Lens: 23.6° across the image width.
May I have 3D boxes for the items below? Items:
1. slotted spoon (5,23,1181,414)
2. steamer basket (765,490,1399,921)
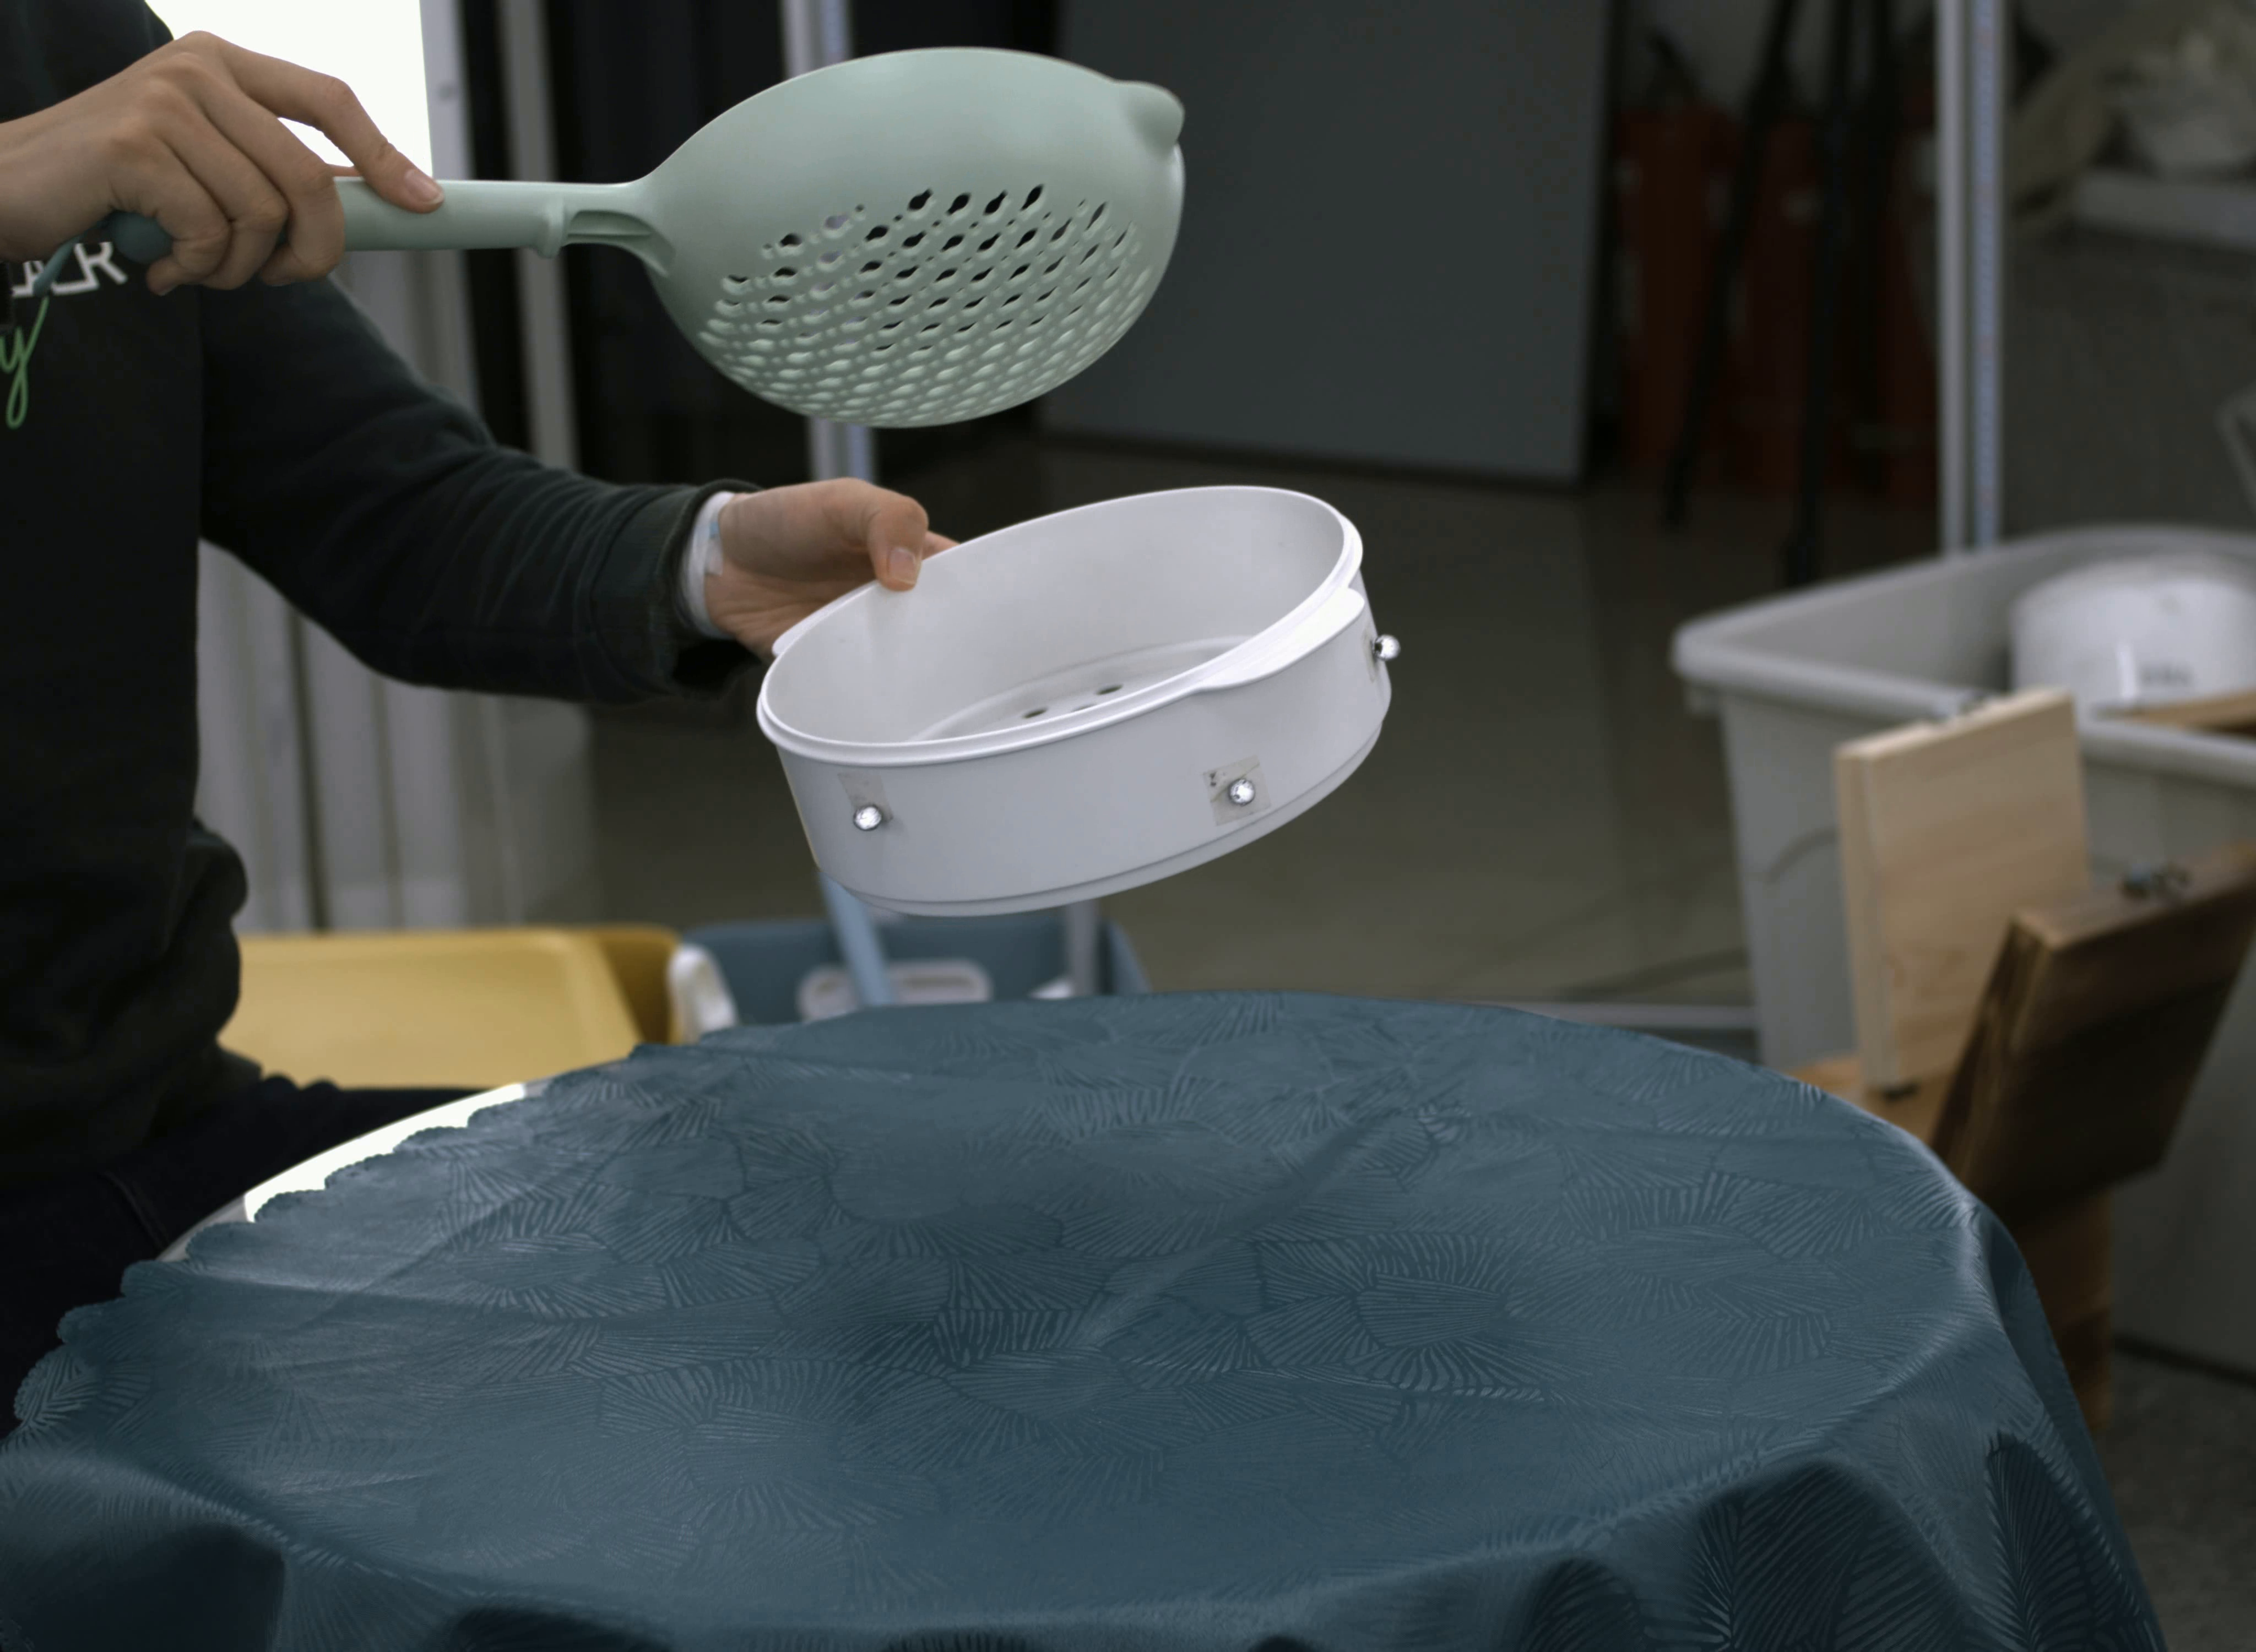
[{"bbox_3d":[-0.155,-0.181,1.635,0.352,0.076,0.170,5,-31,-13],"label":"slotted spoon"},{"bbox_3d":[-0.012,-0.038,1.709,0.232,0.069,0.199,4,28,44],"label":"steamer basket"}]
